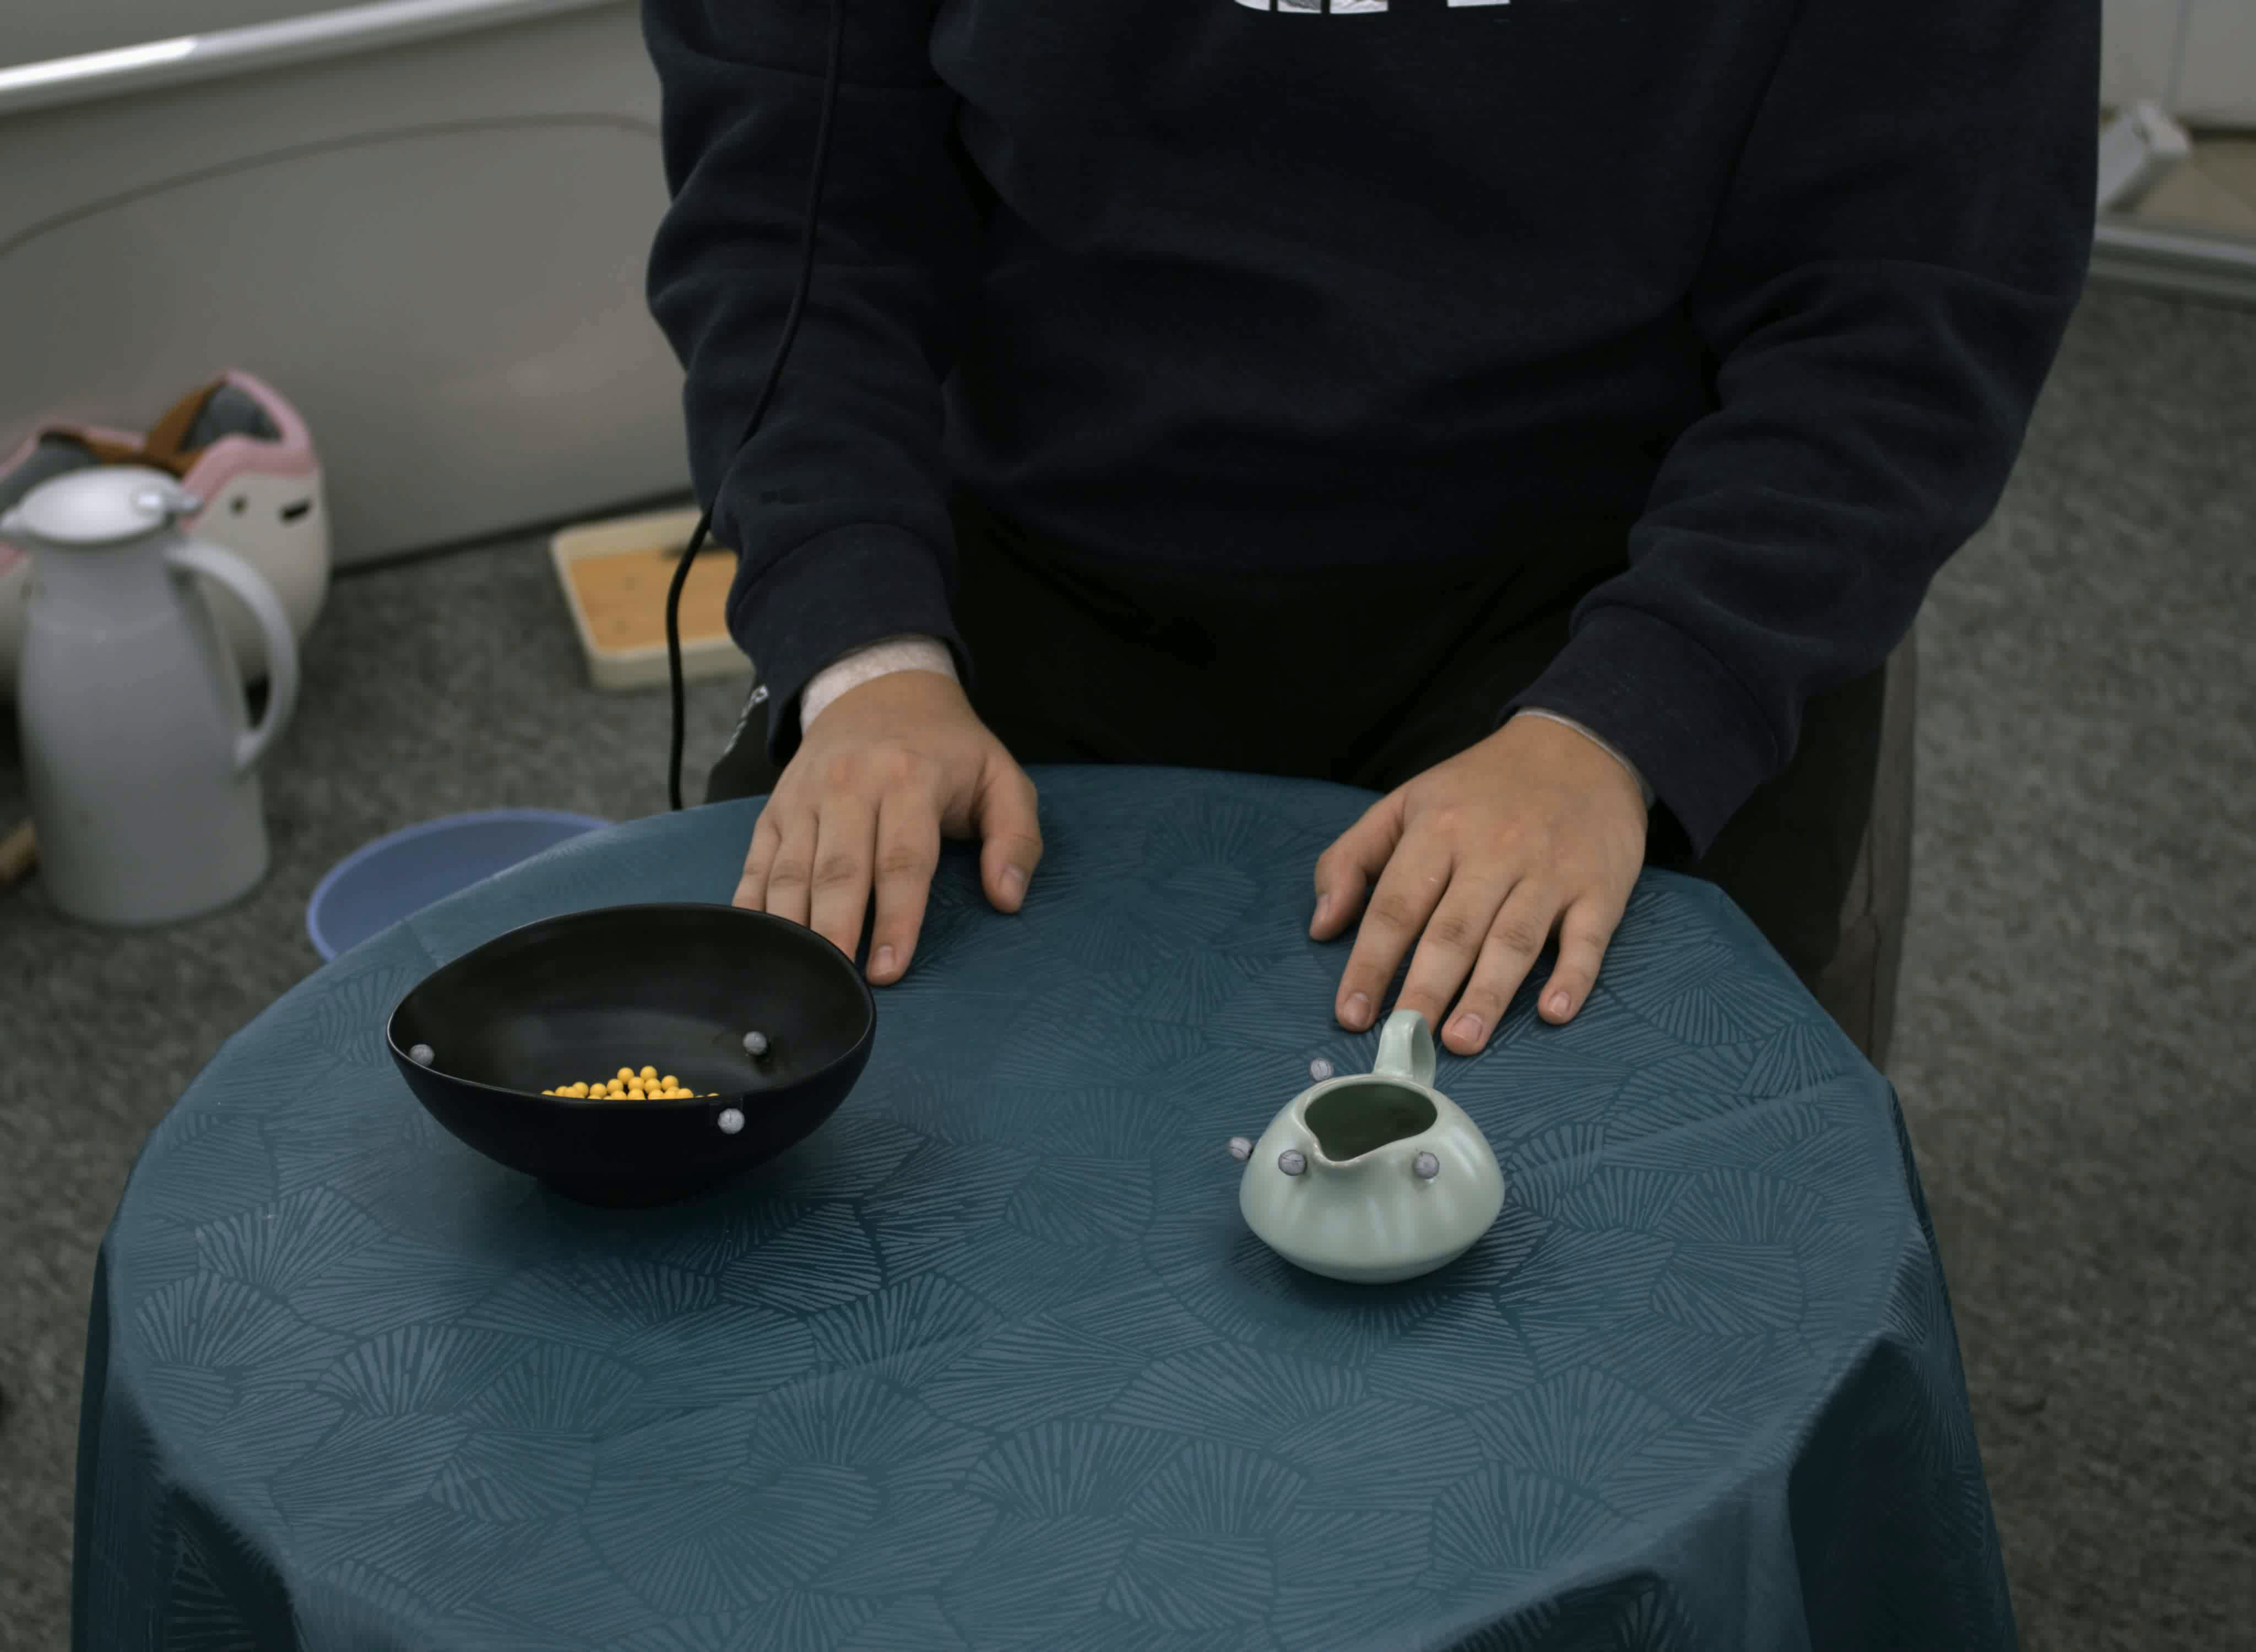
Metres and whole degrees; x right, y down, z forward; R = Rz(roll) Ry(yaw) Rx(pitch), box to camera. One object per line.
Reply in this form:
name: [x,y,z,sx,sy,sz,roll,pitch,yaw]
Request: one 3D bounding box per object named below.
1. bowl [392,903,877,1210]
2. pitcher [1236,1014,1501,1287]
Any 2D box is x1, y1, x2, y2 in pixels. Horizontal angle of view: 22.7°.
bowl: [-0.165,0.086,1.881,0.169,0.066,0.140,5,28,16]
pitcher: [0.080,0.107,1.827,0.085,0.060,0.110,5,26,14]
